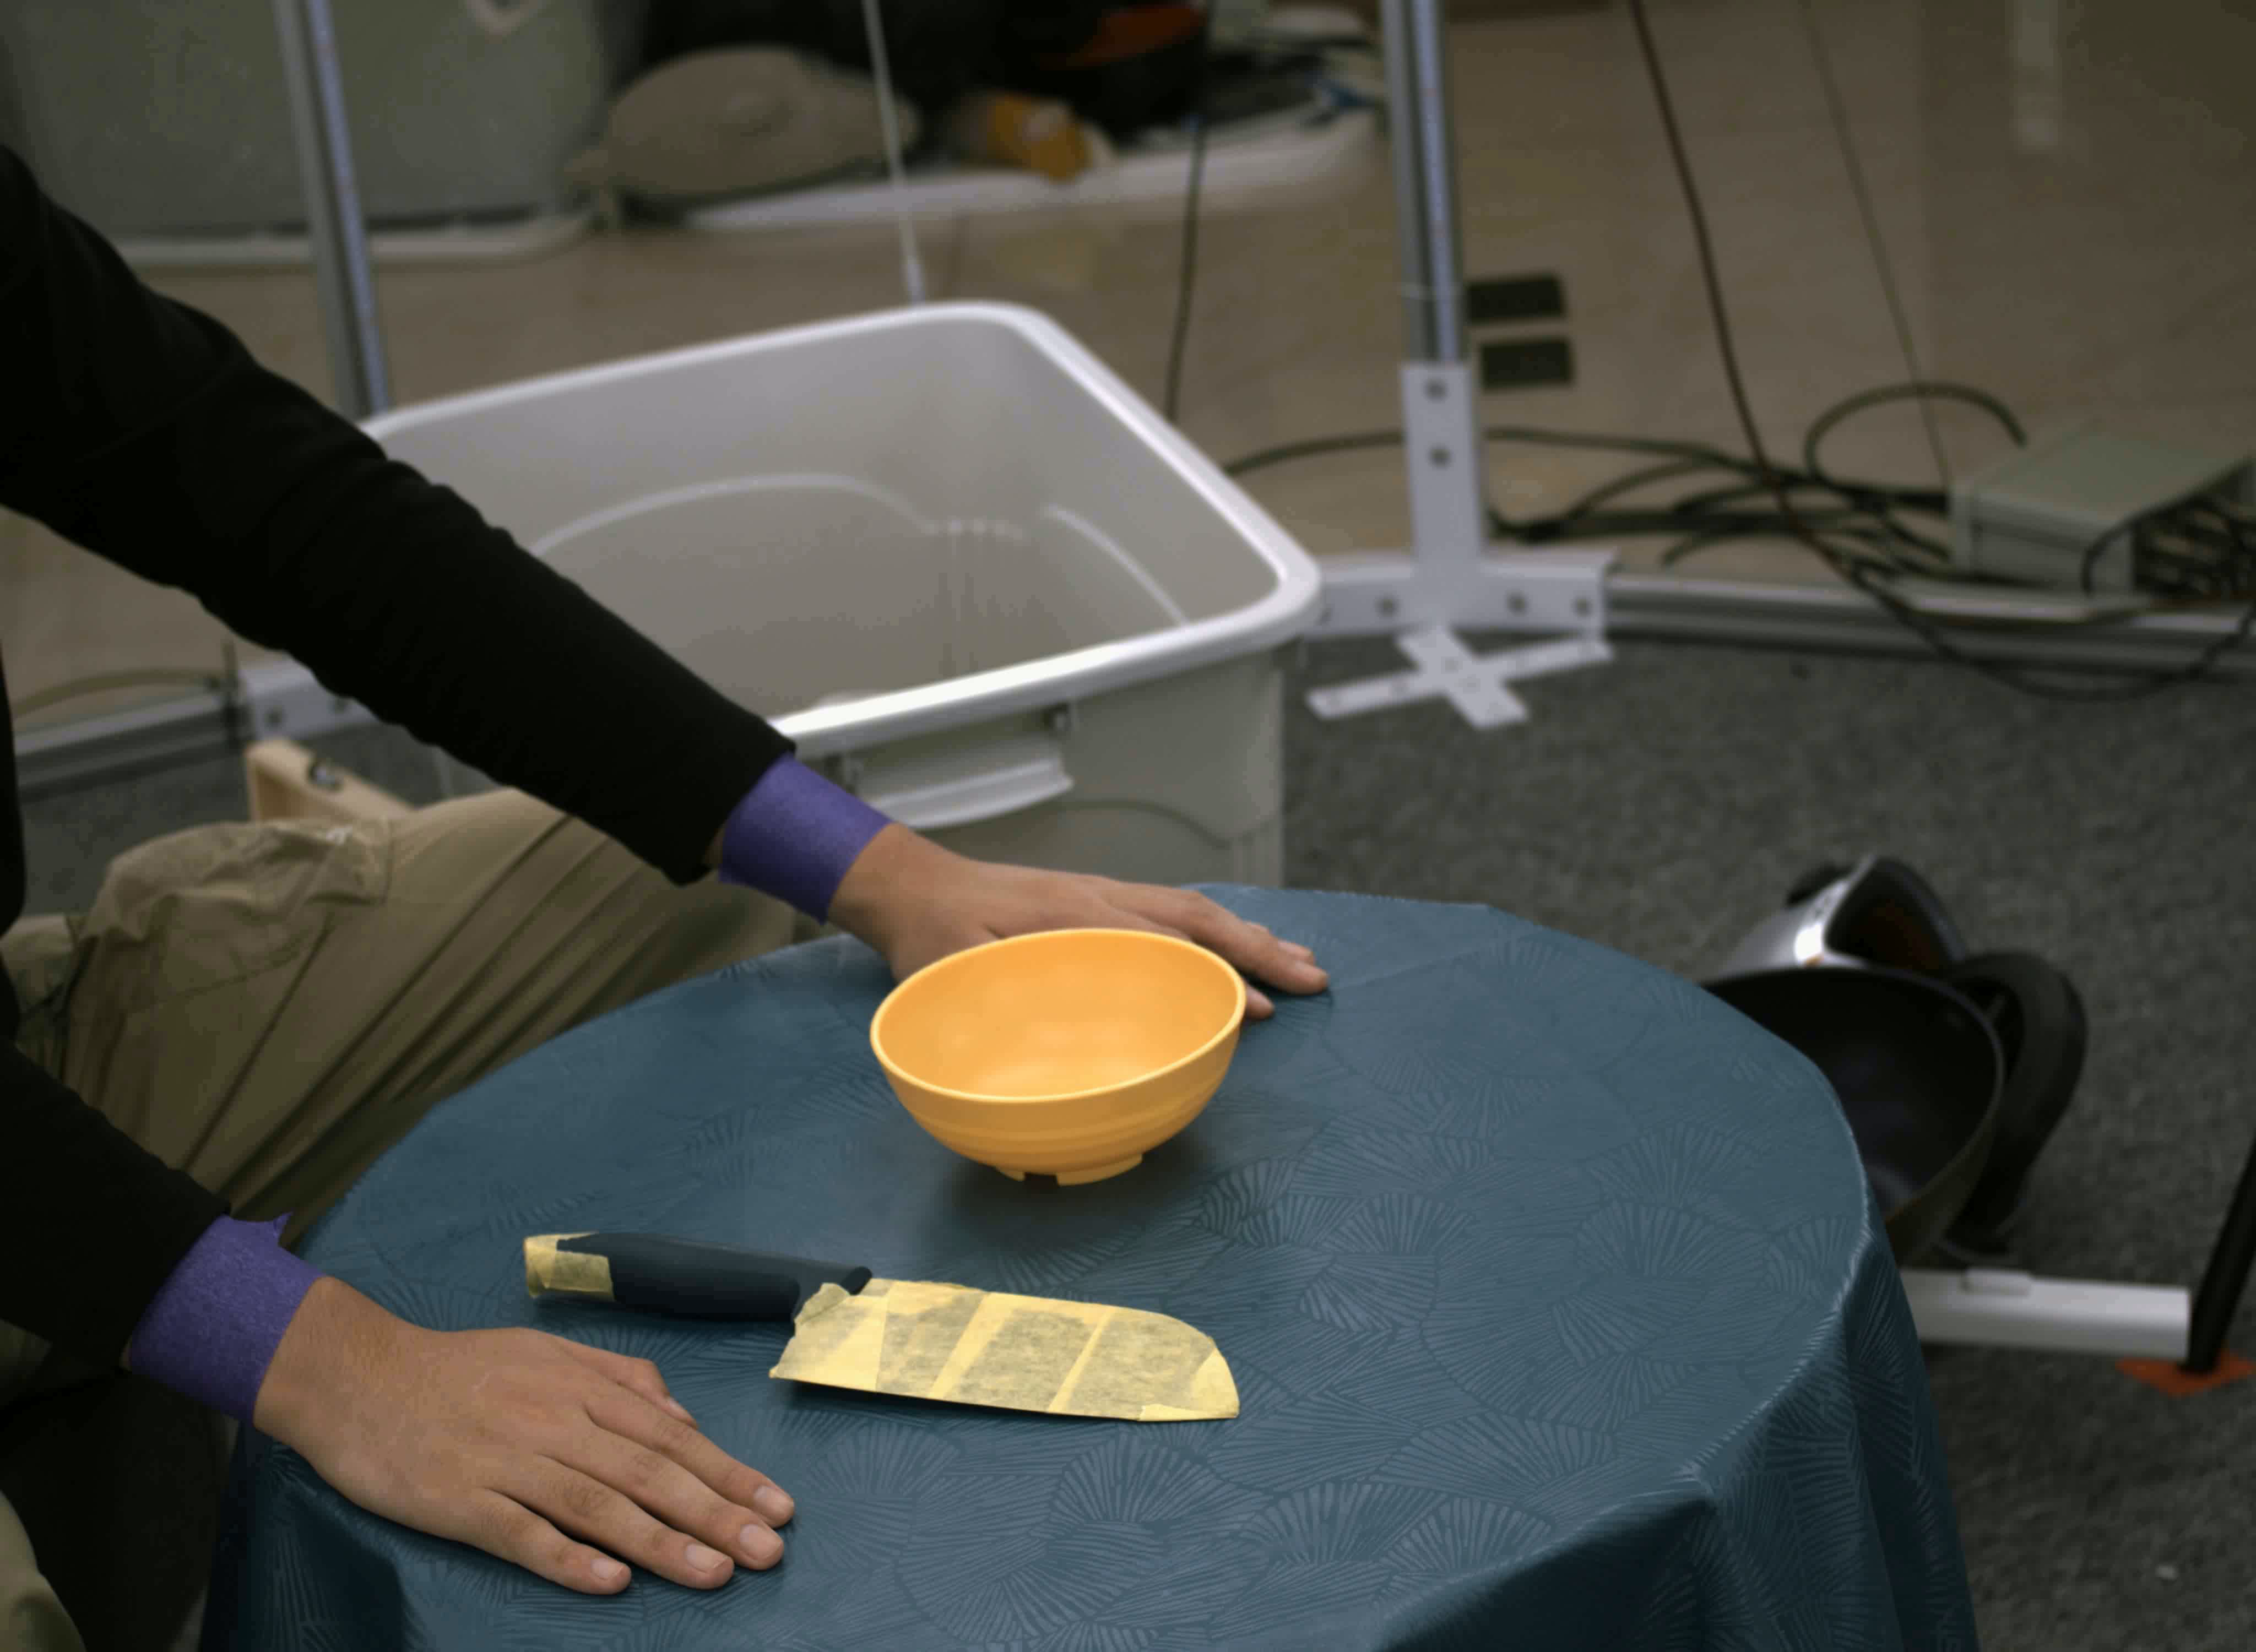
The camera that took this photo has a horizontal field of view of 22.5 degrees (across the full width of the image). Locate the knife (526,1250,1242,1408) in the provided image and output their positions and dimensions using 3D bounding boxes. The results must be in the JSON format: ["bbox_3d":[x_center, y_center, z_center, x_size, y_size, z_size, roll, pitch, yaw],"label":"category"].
[{"bbox_3d":[-0.094,0.184,2.059,0.288,0.027,0.080,5,26,21],"label":"knife"}]

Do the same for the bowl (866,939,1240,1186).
[{"bbox_3d":[-0.027,0.098,2.175,0.145,0.061,0.143,-4,23,2],"label":"bowl"}]
